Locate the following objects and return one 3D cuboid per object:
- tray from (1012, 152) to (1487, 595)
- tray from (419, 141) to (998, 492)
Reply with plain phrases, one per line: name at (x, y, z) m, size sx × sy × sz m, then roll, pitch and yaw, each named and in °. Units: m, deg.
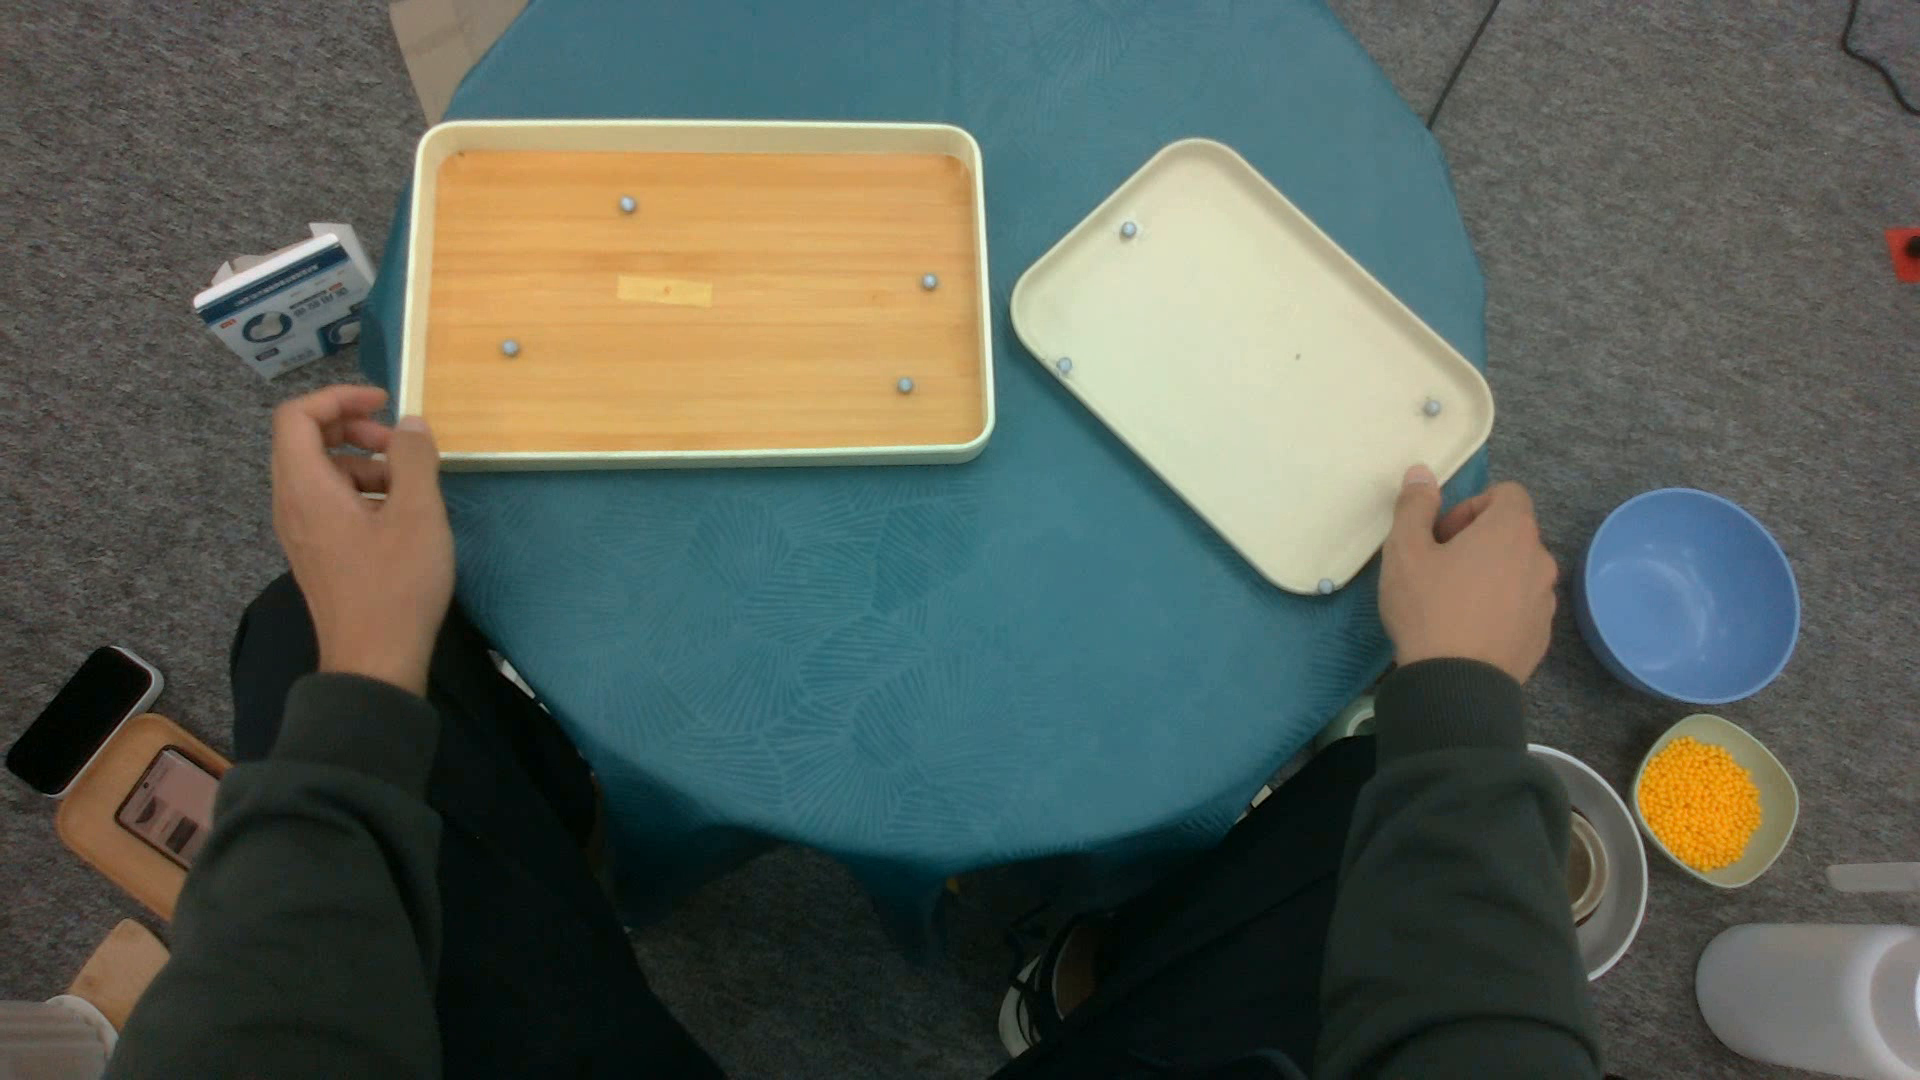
tray at (0.159, -0.095, 0.763) m, size 0.240 × 0.017 × 0.171 m, roll 44°, pitch 76°, yaw 9°
tray at (-0.134, -0.124, 0.749) m, size 0.300 × 0.027 × 0.192 m, roll -2°, pitch 75°, yaw -4°
